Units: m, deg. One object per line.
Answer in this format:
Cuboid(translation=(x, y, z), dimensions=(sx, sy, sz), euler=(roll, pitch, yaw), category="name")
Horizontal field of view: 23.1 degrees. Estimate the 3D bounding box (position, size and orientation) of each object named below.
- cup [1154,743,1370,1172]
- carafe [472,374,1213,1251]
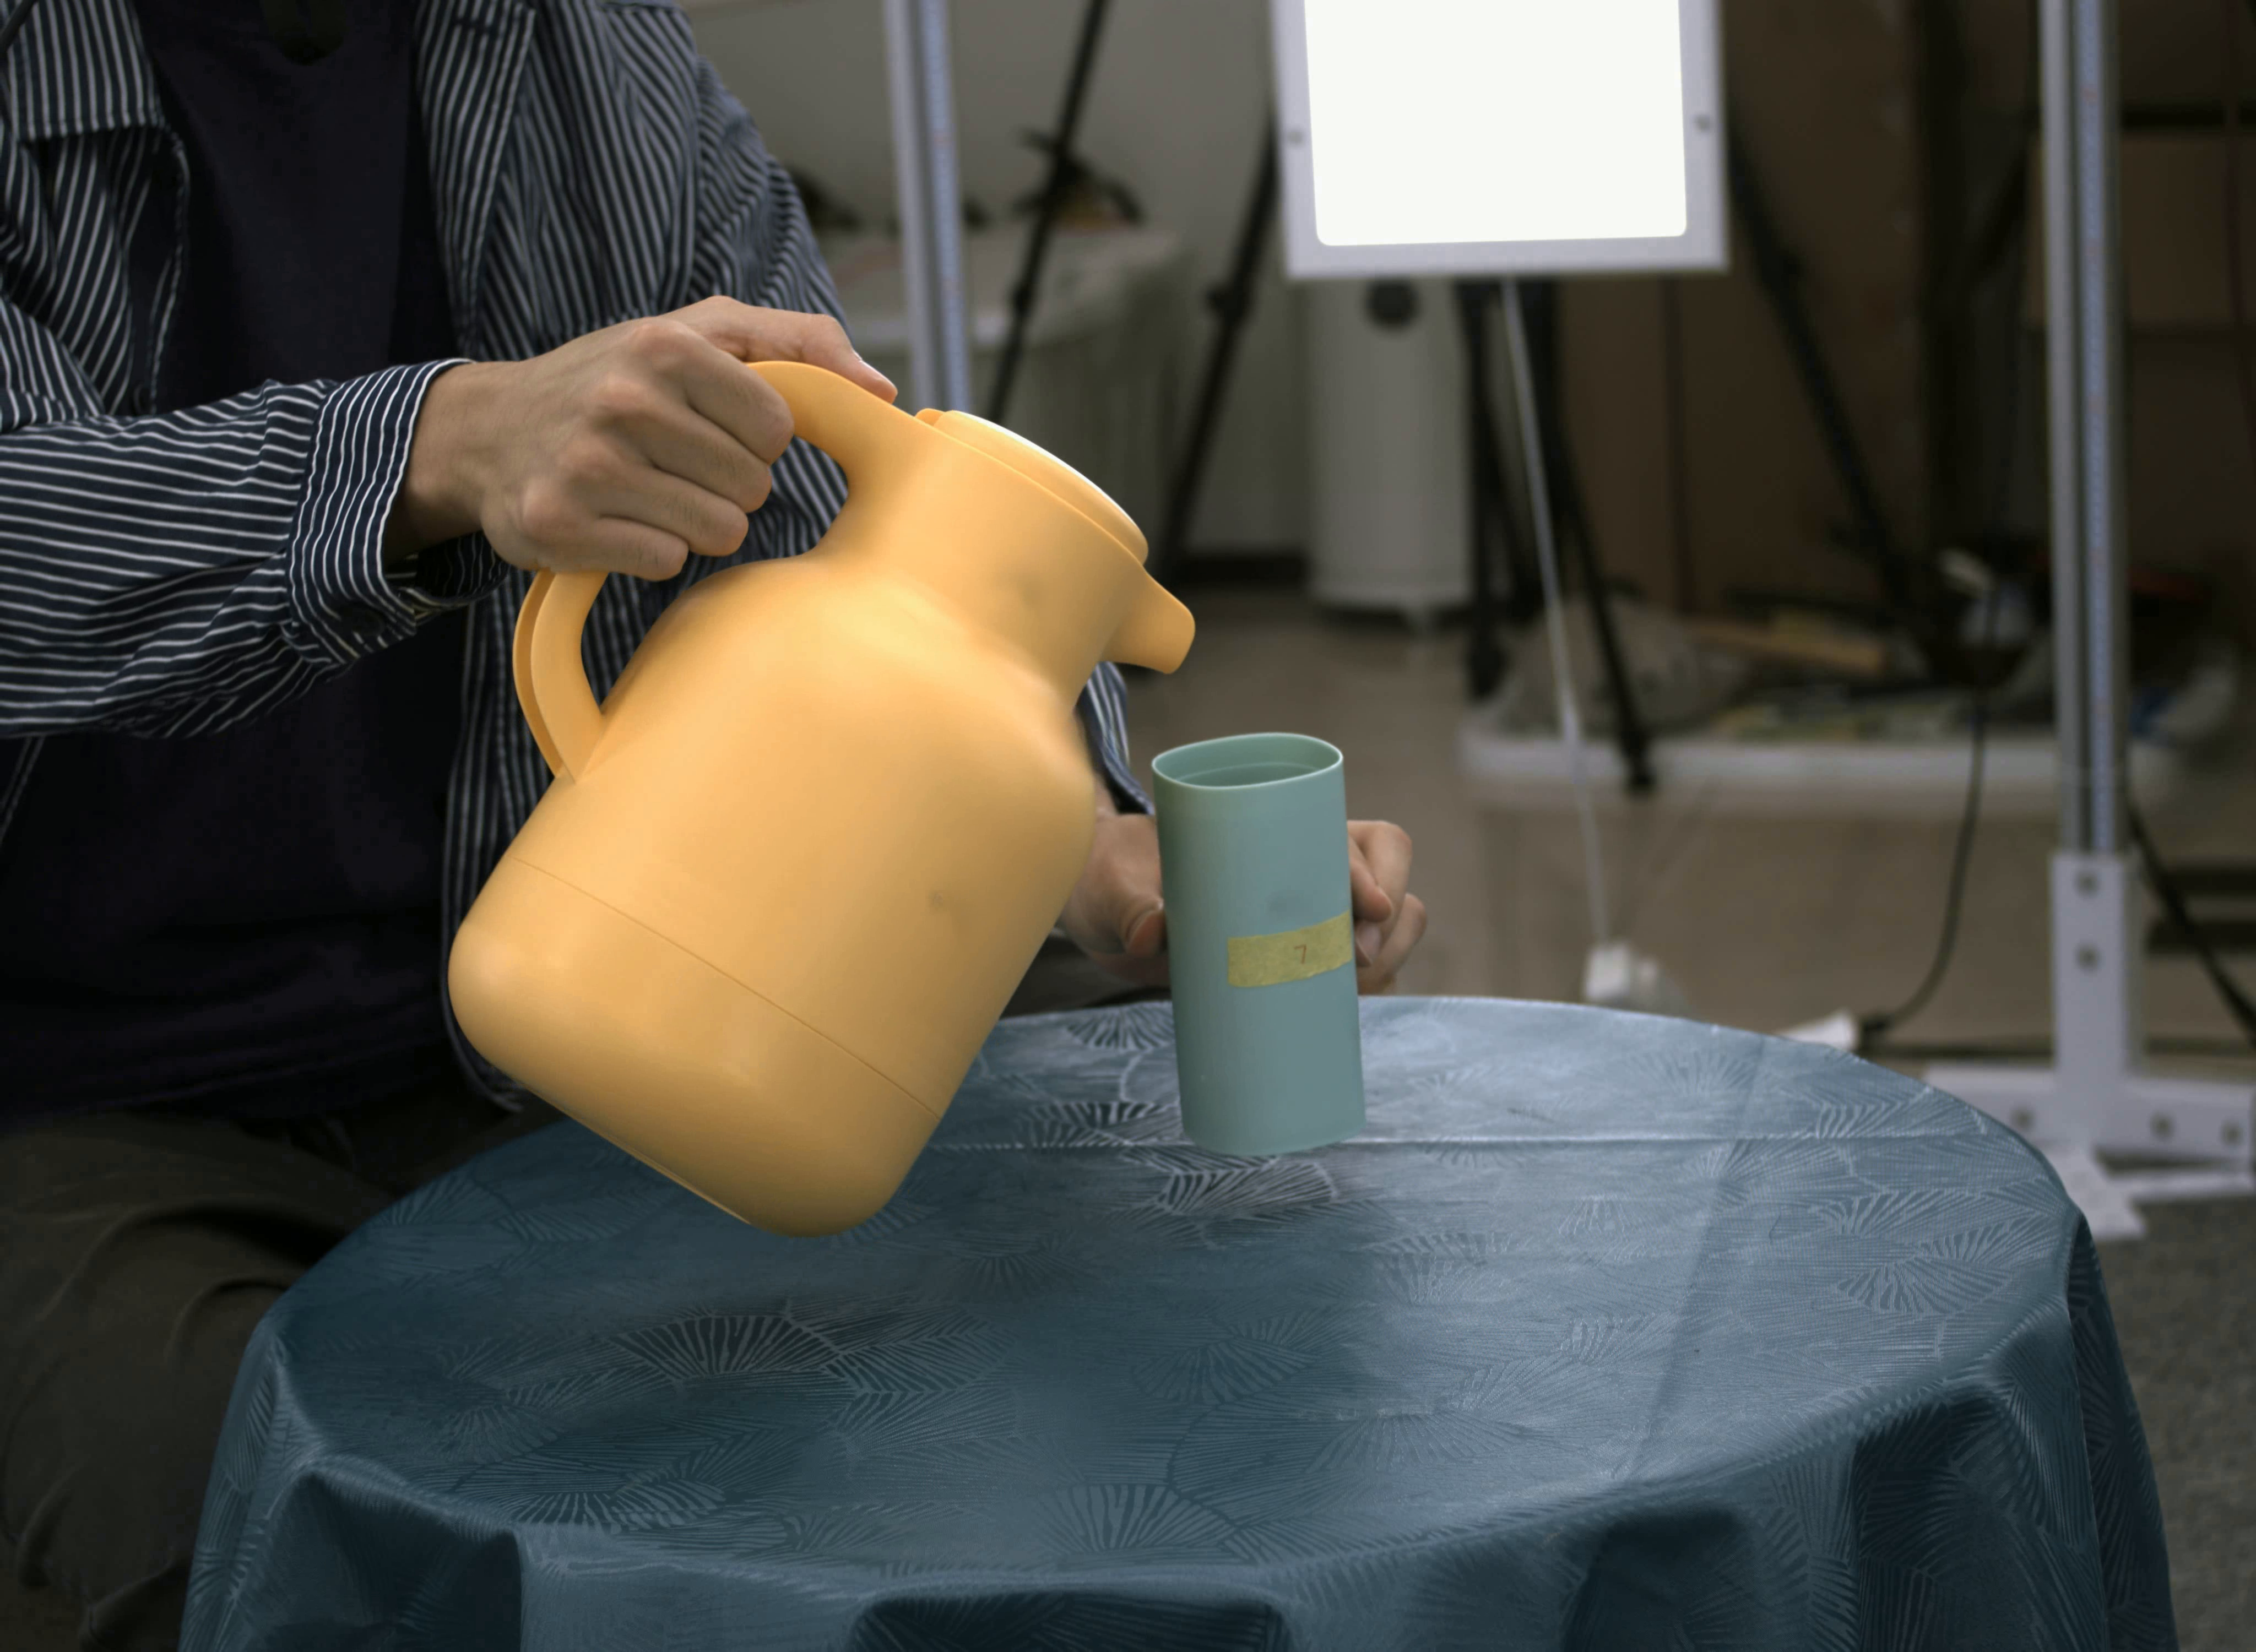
Cuboid(translation=(0.046, 0.043, 1.854), dimensions=(0.066, 0.133, 0.066), euler=(-5, 16, 0), category="cup")
Cuboid(translation=(-0.102, -0.014, 1.768), dimensions=(0.200, 0.260, 0.166), euler=(34, -7, -20), category="carafe")
